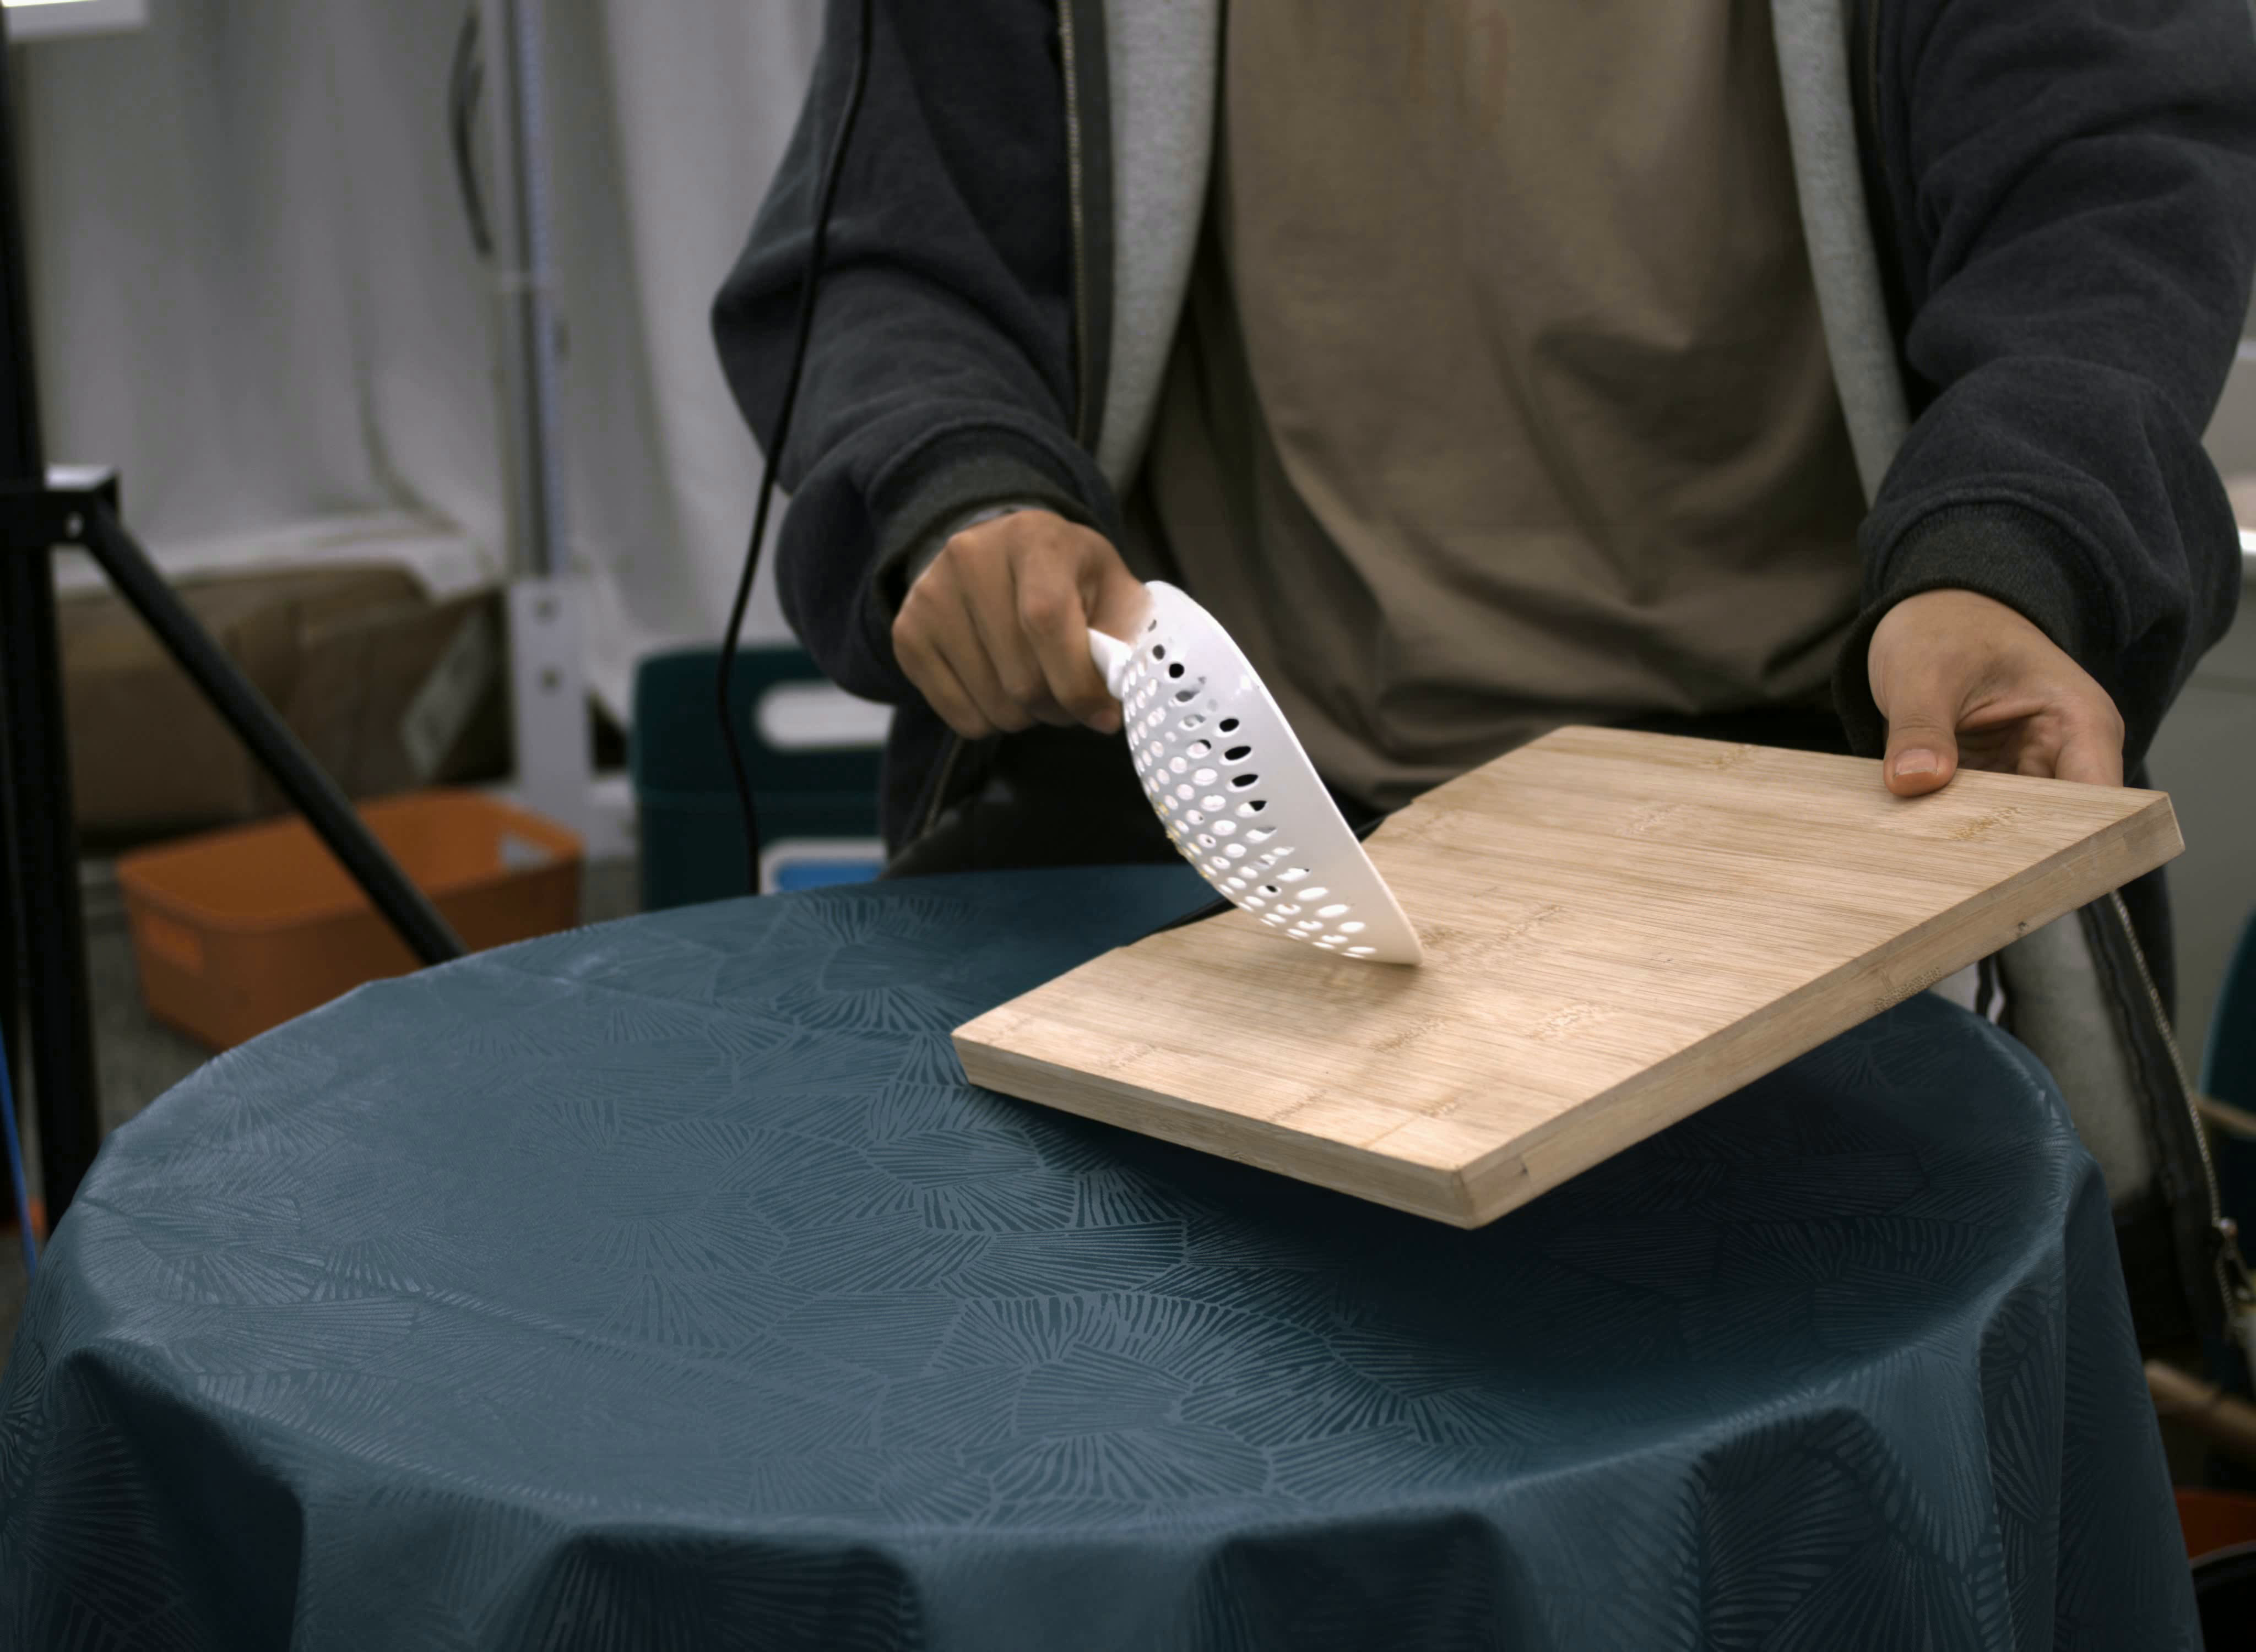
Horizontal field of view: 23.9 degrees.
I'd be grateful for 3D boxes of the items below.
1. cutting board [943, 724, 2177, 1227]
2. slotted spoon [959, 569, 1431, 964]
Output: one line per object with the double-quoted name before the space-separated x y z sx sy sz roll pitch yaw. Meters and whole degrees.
"cutting board" 0.115 0.036 1.553 0.247 0.023 0.355 -26 14 -21
"slotted spoon" 0.006 -0.034 1.645 0.050 0.135 0.352 -34 19 -2
